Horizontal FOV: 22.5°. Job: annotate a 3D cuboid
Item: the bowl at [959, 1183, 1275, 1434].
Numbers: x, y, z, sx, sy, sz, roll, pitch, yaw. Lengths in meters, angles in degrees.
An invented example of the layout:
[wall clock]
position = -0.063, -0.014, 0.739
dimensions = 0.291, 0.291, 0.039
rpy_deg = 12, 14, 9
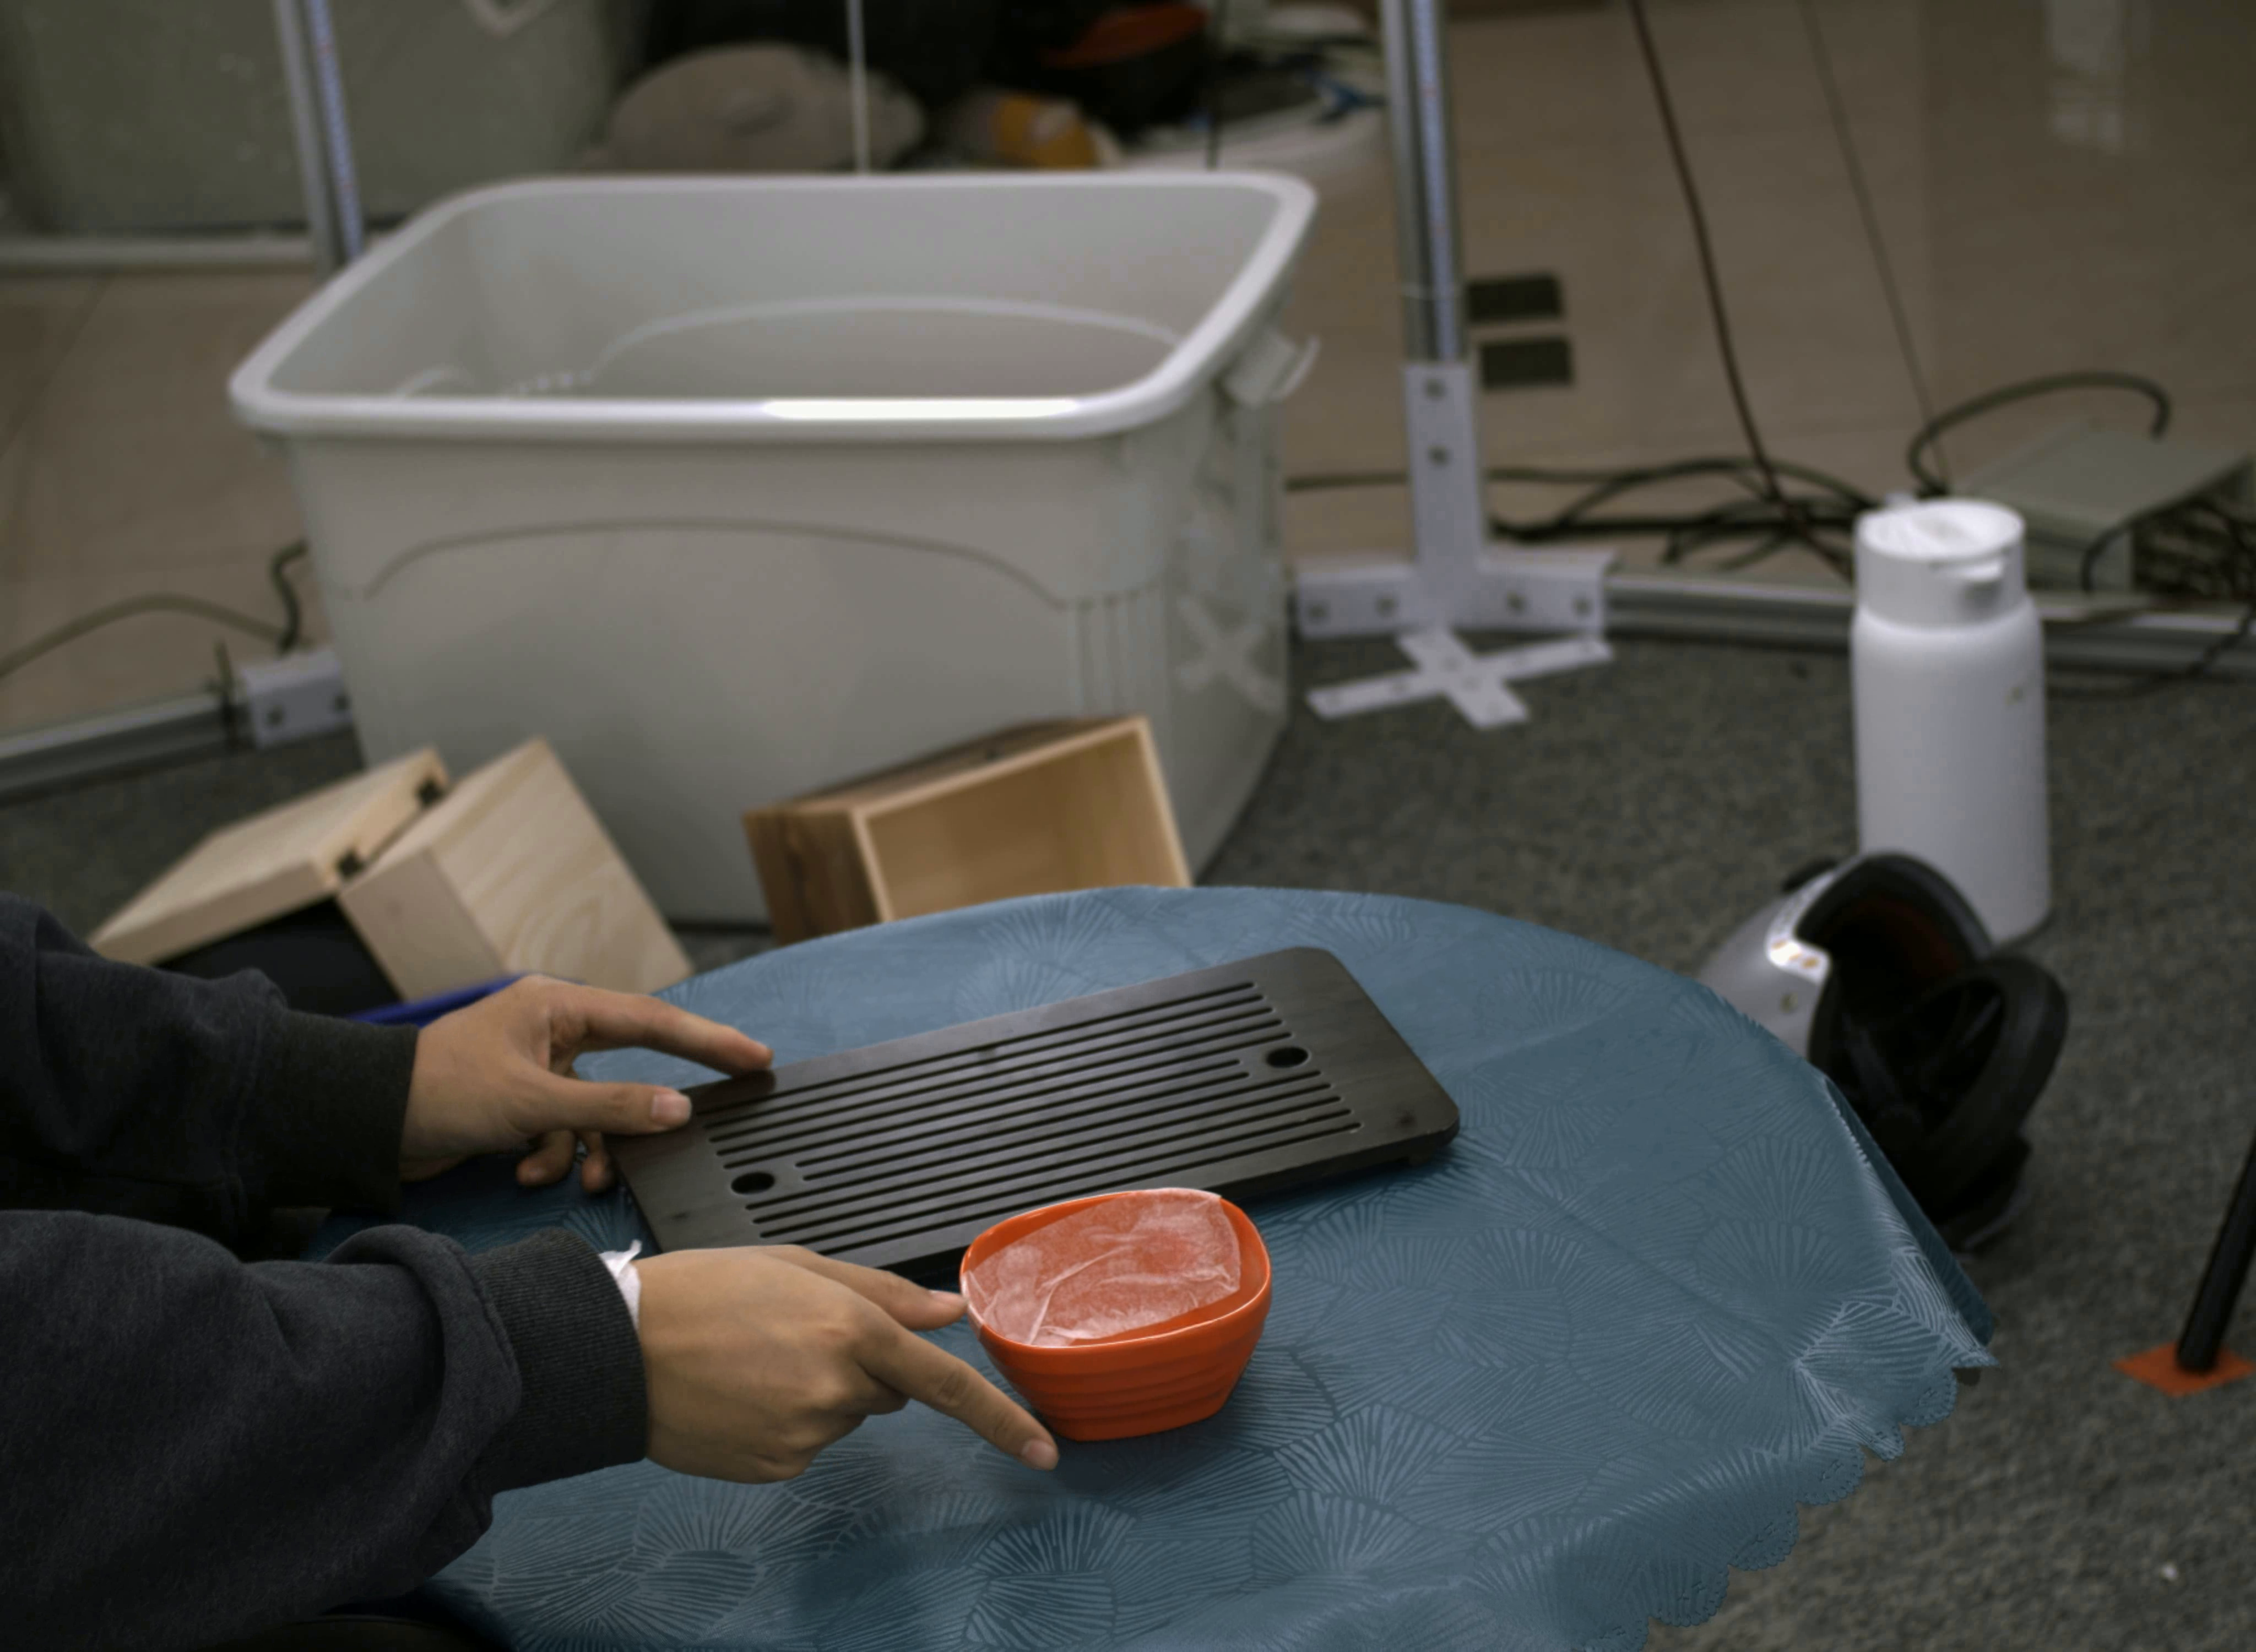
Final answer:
[bowl]
position = -0.003, 0.175, 2.003
dimensions = 0.119, 0.052, 0.117
rpy_deg = -3, 26, 2

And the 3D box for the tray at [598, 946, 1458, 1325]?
[tray]
position = -0.040, 0.118, 2.176
dimensions = 0.305, 0.019, 0.168
rpy_deg = -13, 27, -13
